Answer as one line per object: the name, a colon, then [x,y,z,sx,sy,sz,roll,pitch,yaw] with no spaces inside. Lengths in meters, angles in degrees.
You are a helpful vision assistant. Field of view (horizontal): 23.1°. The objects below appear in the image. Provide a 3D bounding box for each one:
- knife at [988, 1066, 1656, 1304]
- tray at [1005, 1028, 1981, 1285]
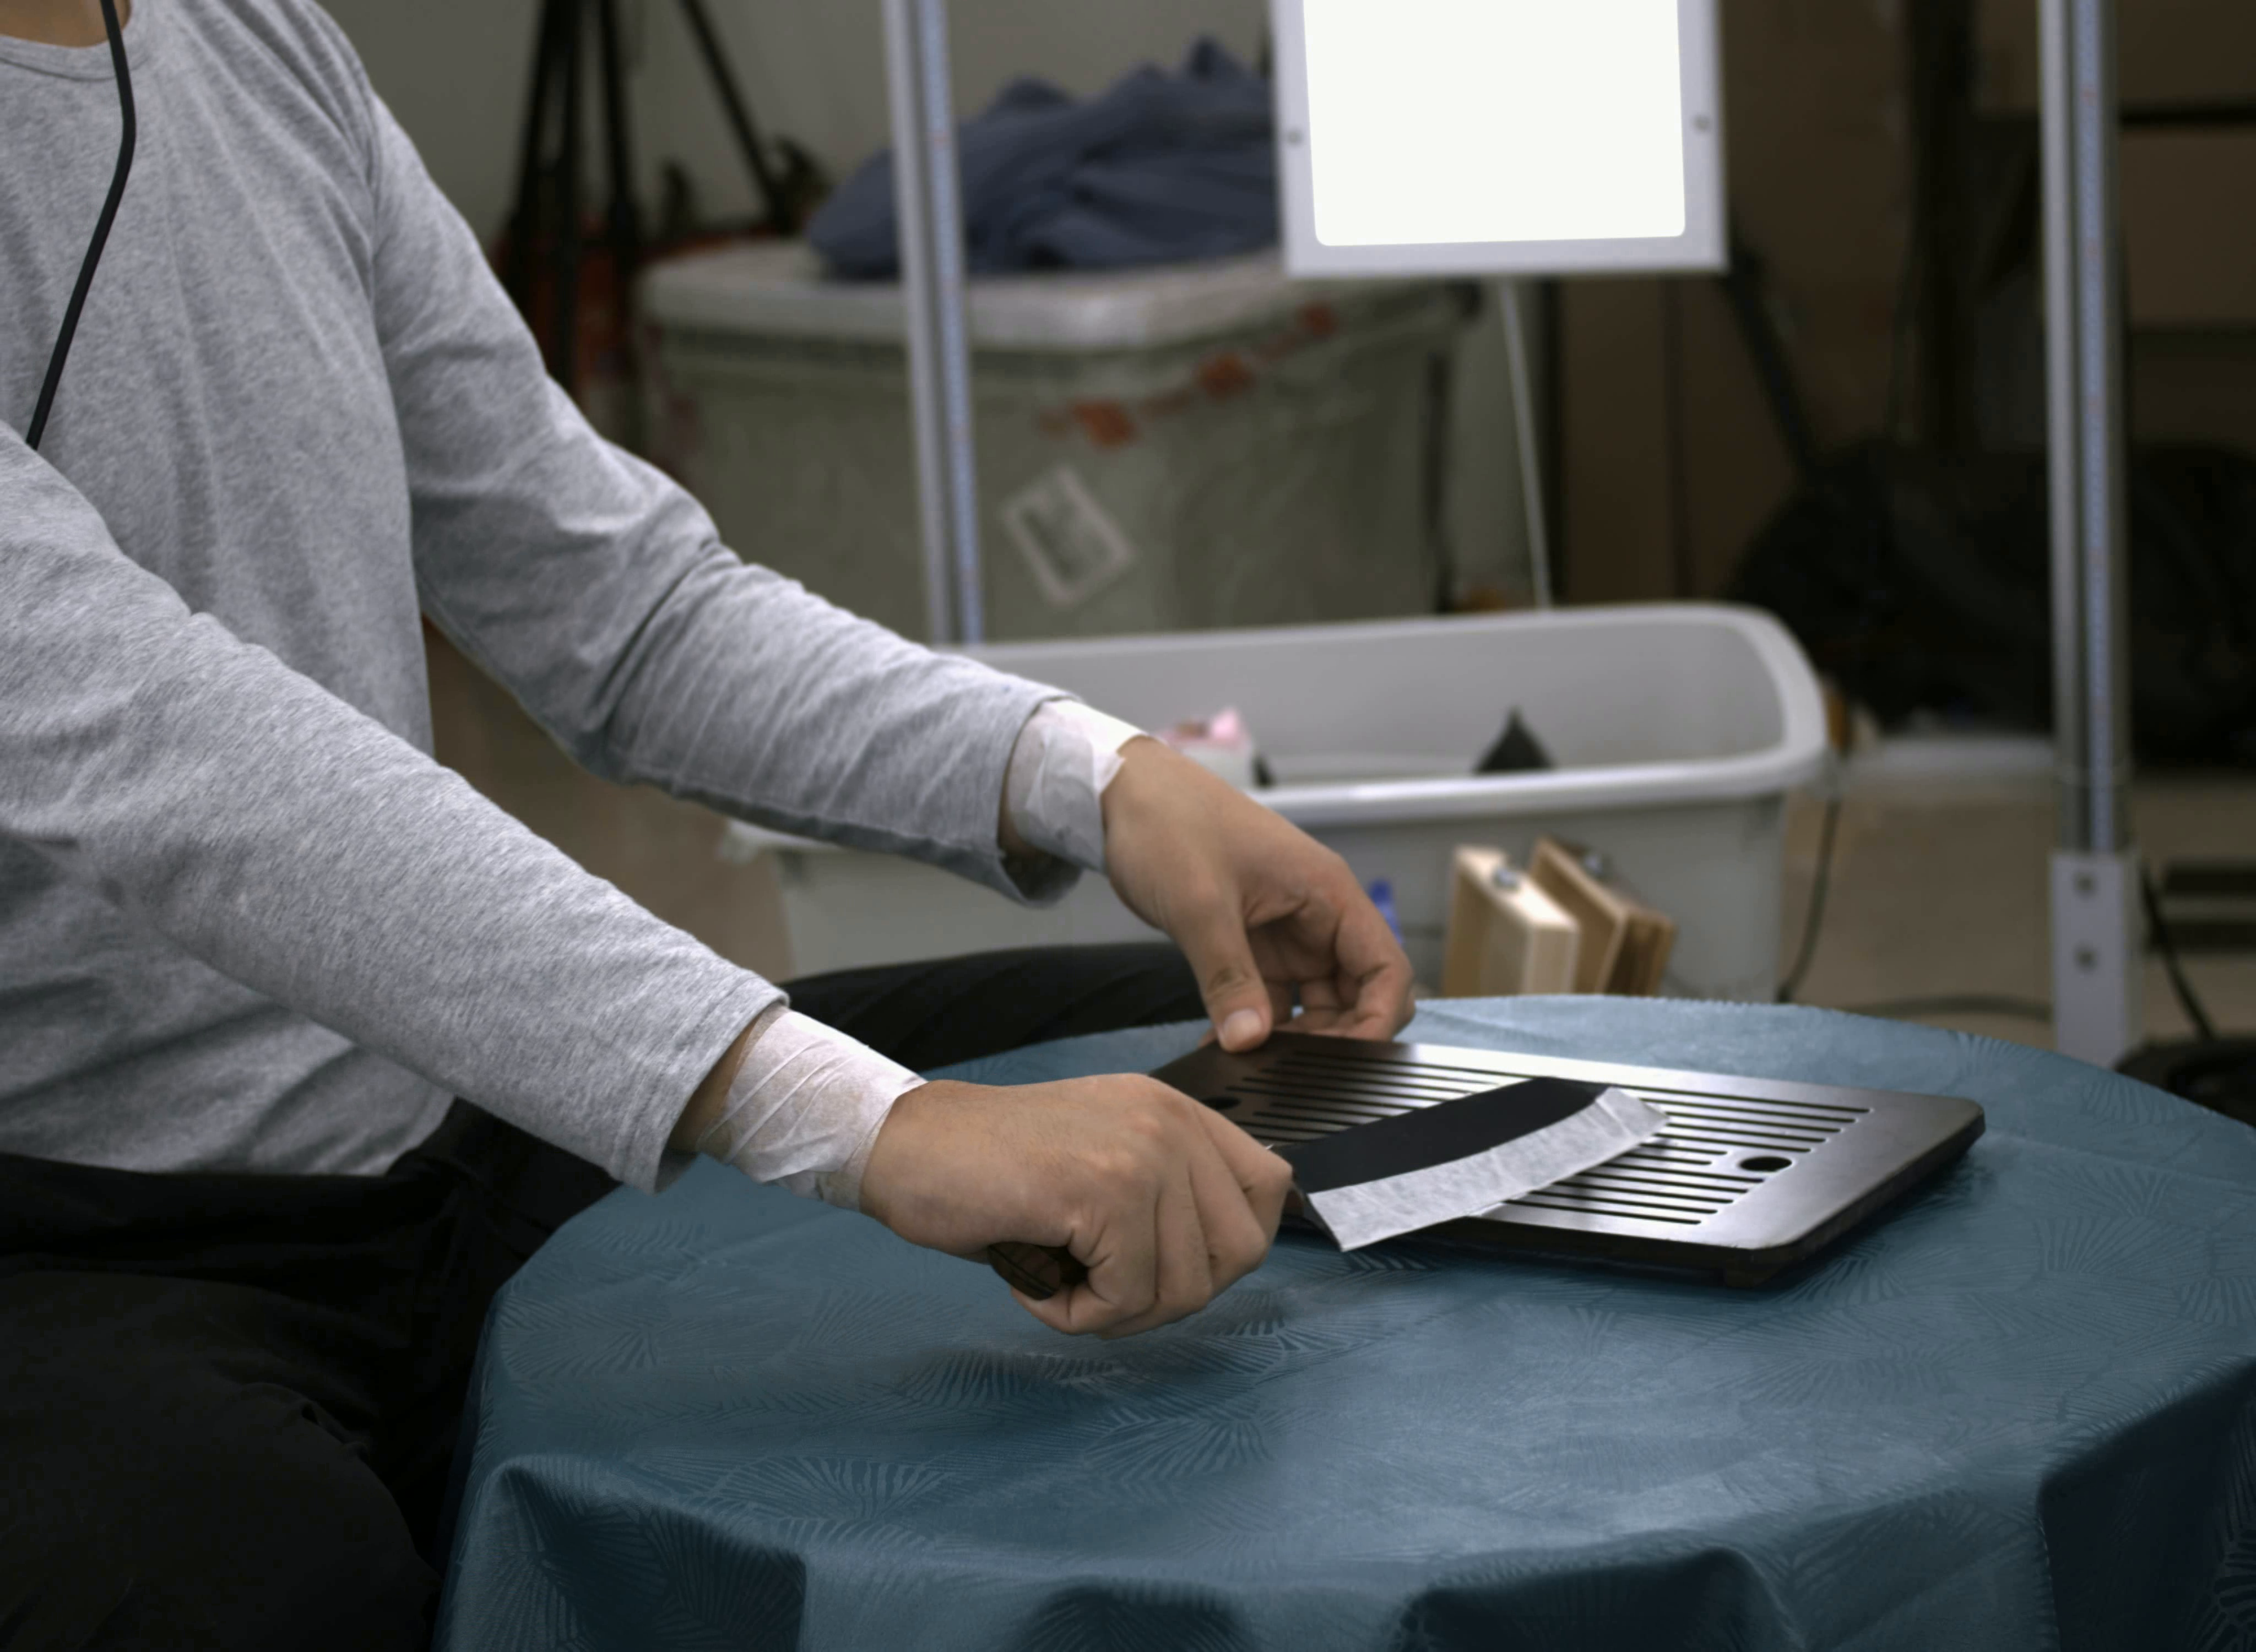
knife: [0.070,0.115,1.783,0.282,0.020,0.051,-11,54,-38]
tray: [0.125,0.111,1.884,0.312,0.019,0.166,4,17,35]
